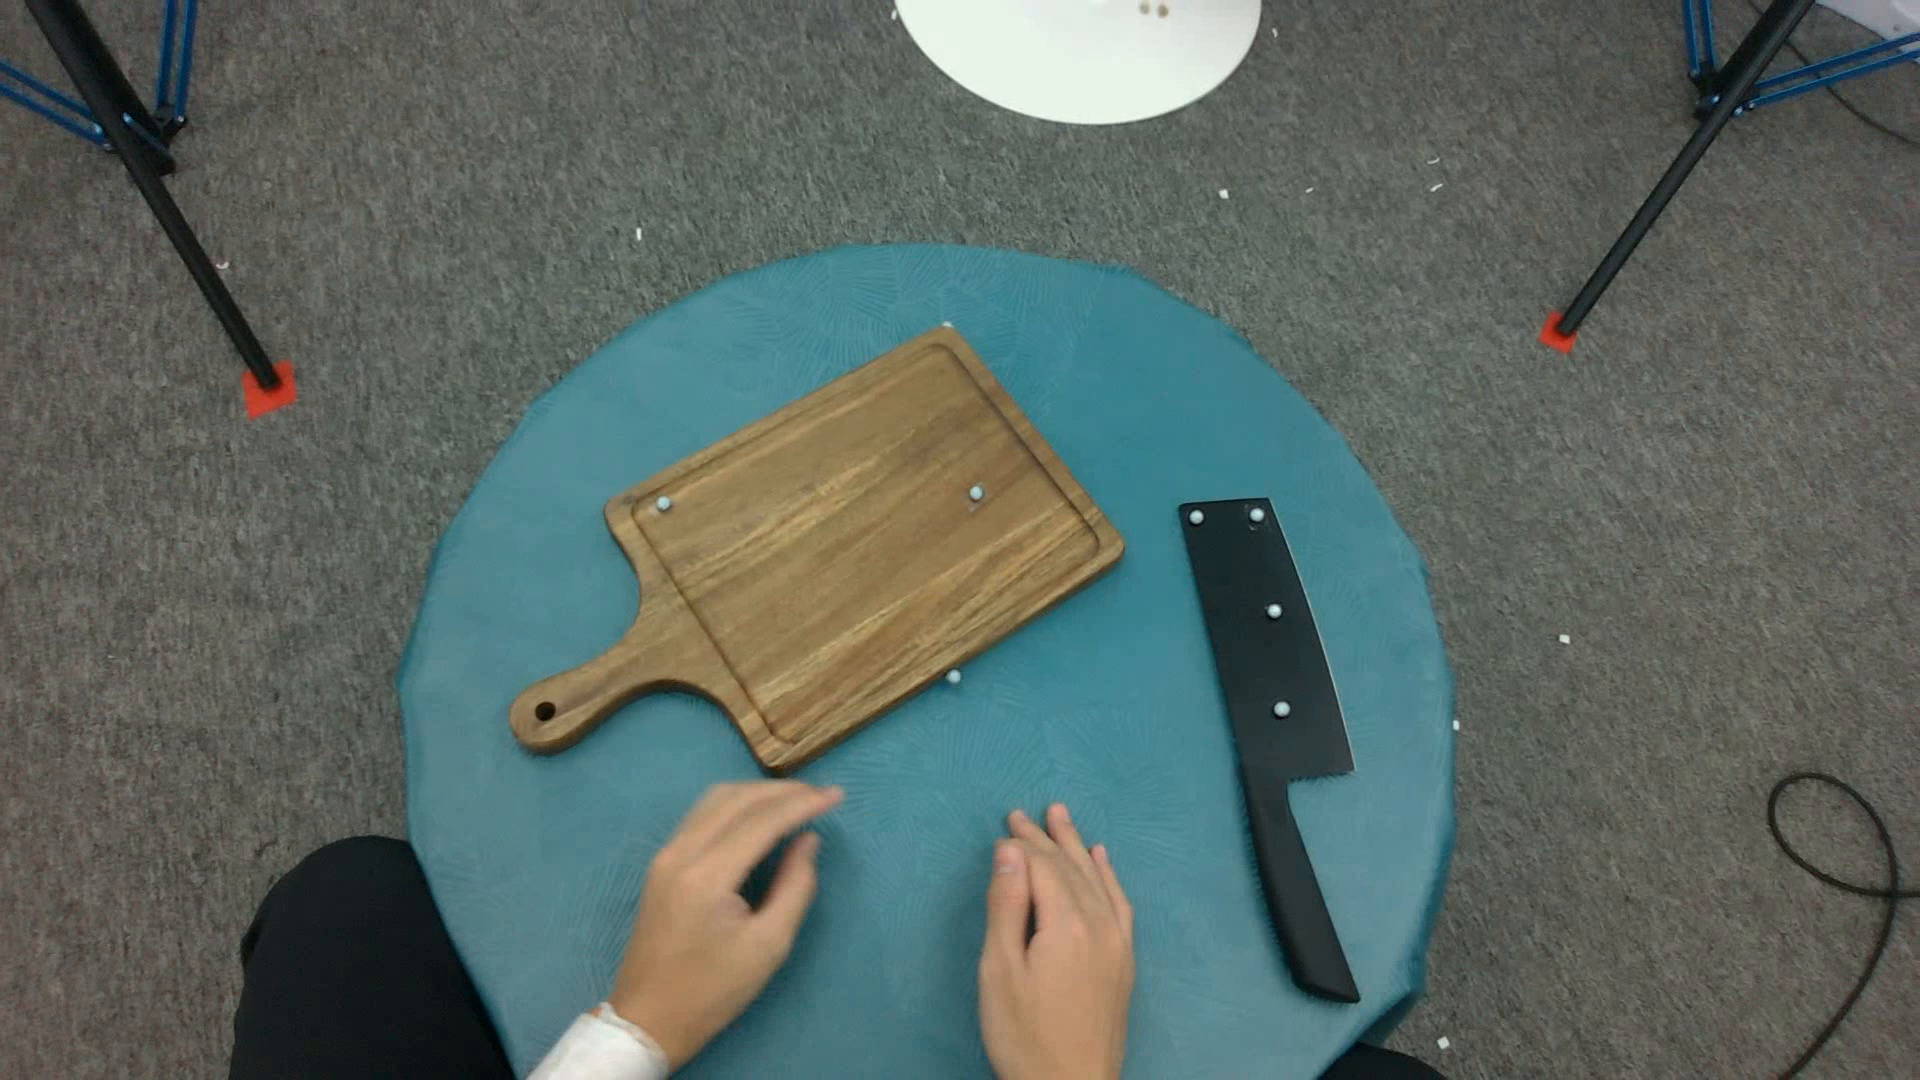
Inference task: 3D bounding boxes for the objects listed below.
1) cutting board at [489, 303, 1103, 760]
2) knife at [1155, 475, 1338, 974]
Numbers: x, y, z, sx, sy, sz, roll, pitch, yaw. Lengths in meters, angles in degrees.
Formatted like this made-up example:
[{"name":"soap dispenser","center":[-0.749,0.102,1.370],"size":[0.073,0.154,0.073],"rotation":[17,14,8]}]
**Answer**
[{"name":"cutting board","center":[-0.109,0.009,0.798],"size":[0.353,0.023,0.201],"rotation":[-32,71,-19]},{"name":"knife","center":[0.172,0.094,0.791],"size":[0.081,0.021,0.303],"rotation":[-1,63,-8]}]
